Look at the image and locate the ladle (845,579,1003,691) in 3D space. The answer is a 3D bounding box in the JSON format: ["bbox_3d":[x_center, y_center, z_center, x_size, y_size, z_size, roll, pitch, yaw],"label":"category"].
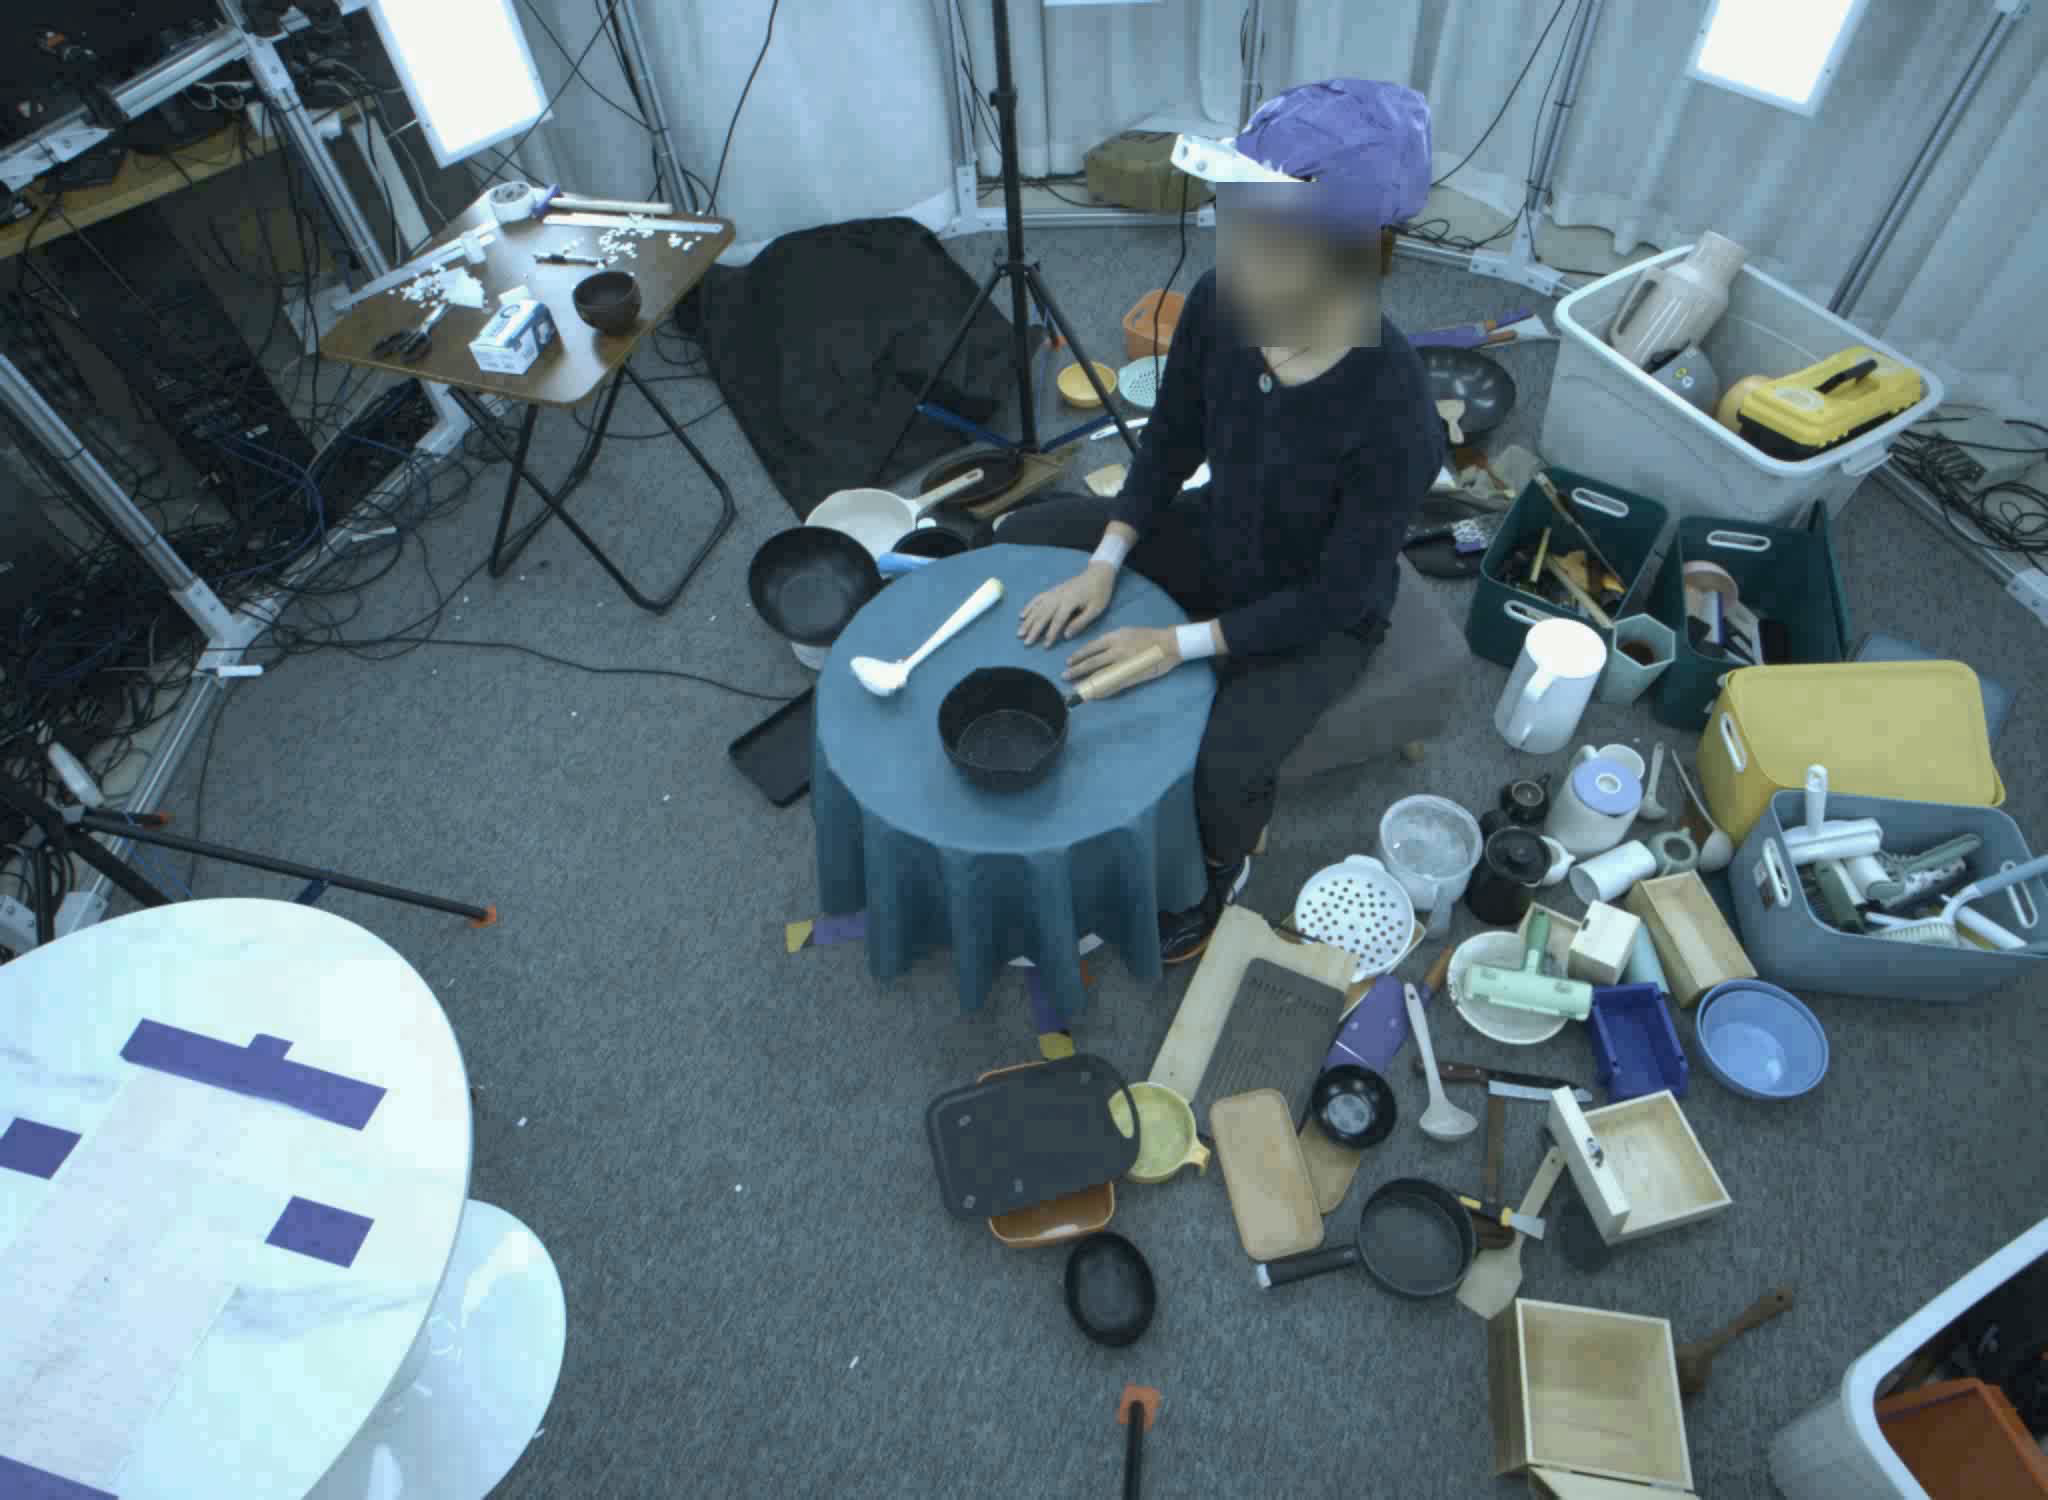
[{"bbox_3d":[-0.147,-0.185,1.884,0.088,0.071,0.295,33,62,31],"label":"ladle"}]

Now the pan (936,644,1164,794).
[{"bbox_3d":[0.043,-0.058,1.760,0.345,0.109,0.203,-22,56,-11],"label":"pan"}]
